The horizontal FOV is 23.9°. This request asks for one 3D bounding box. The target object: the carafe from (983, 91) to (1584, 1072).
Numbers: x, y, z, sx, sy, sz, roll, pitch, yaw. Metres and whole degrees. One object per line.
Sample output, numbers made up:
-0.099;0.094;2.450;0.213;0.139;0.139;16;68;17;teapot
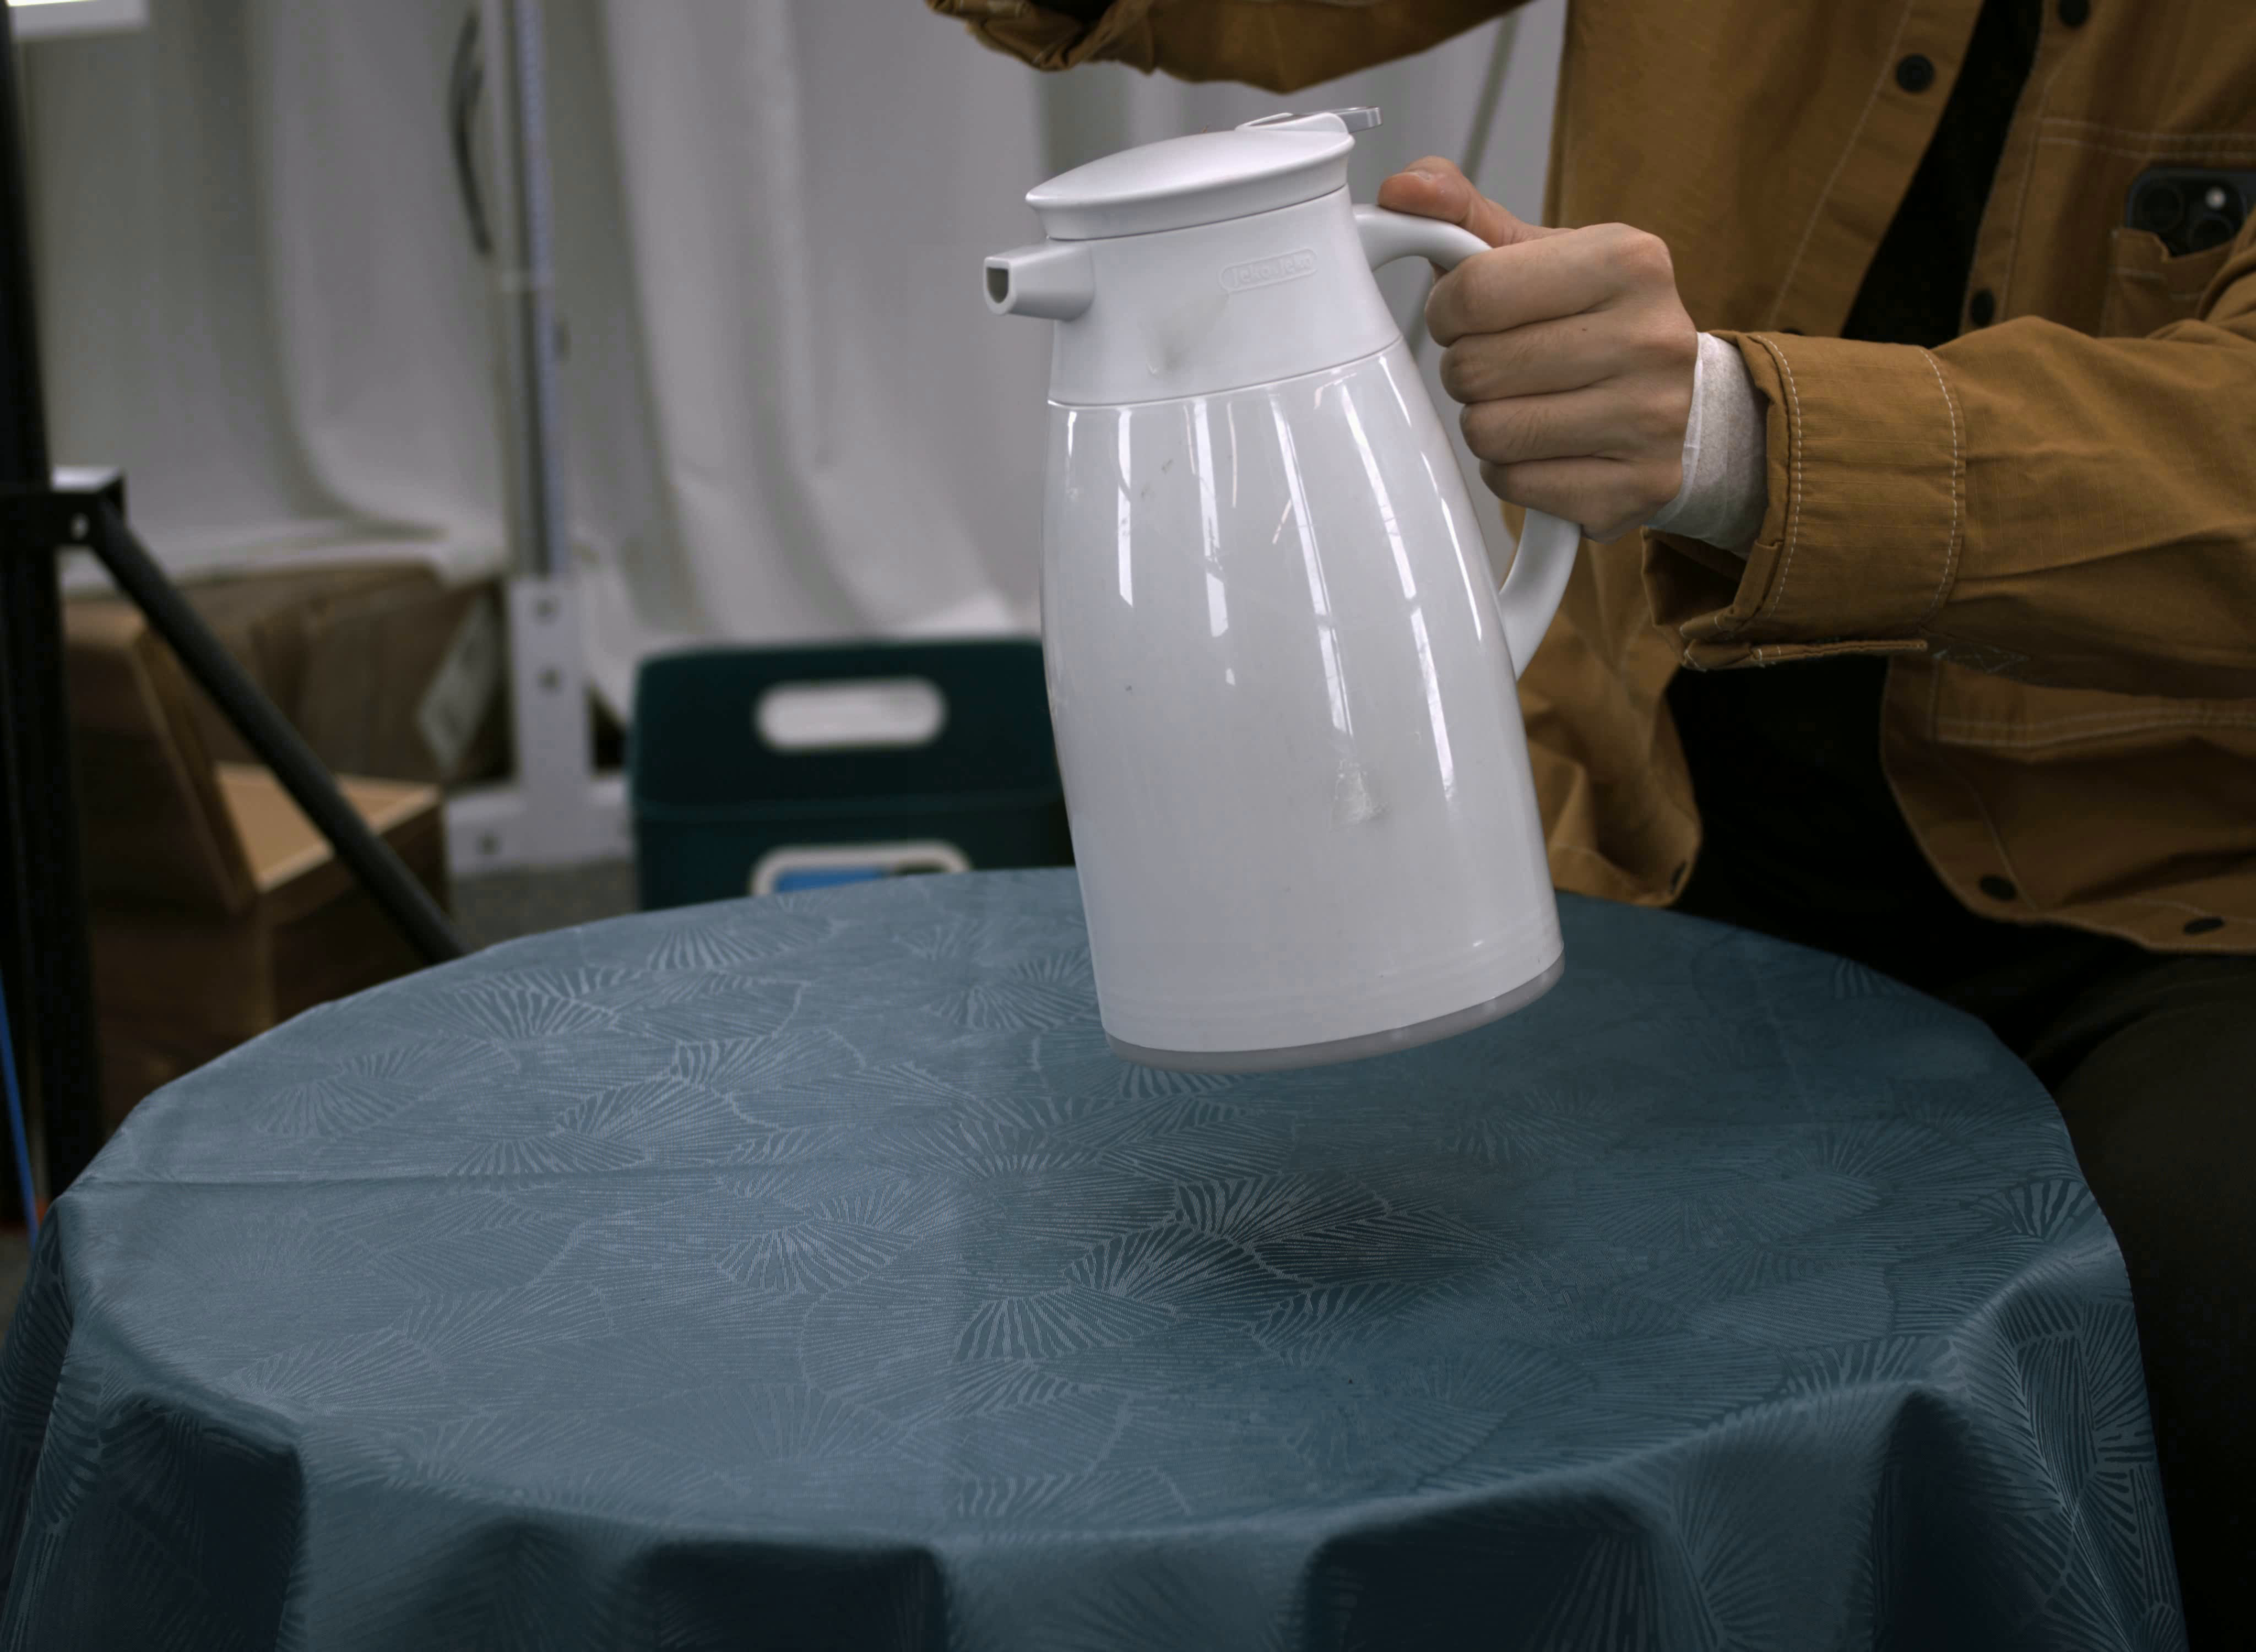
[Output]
0.053;-0.074;1.478;0.164;0.248;0.135;-15;11;-22;carafe
